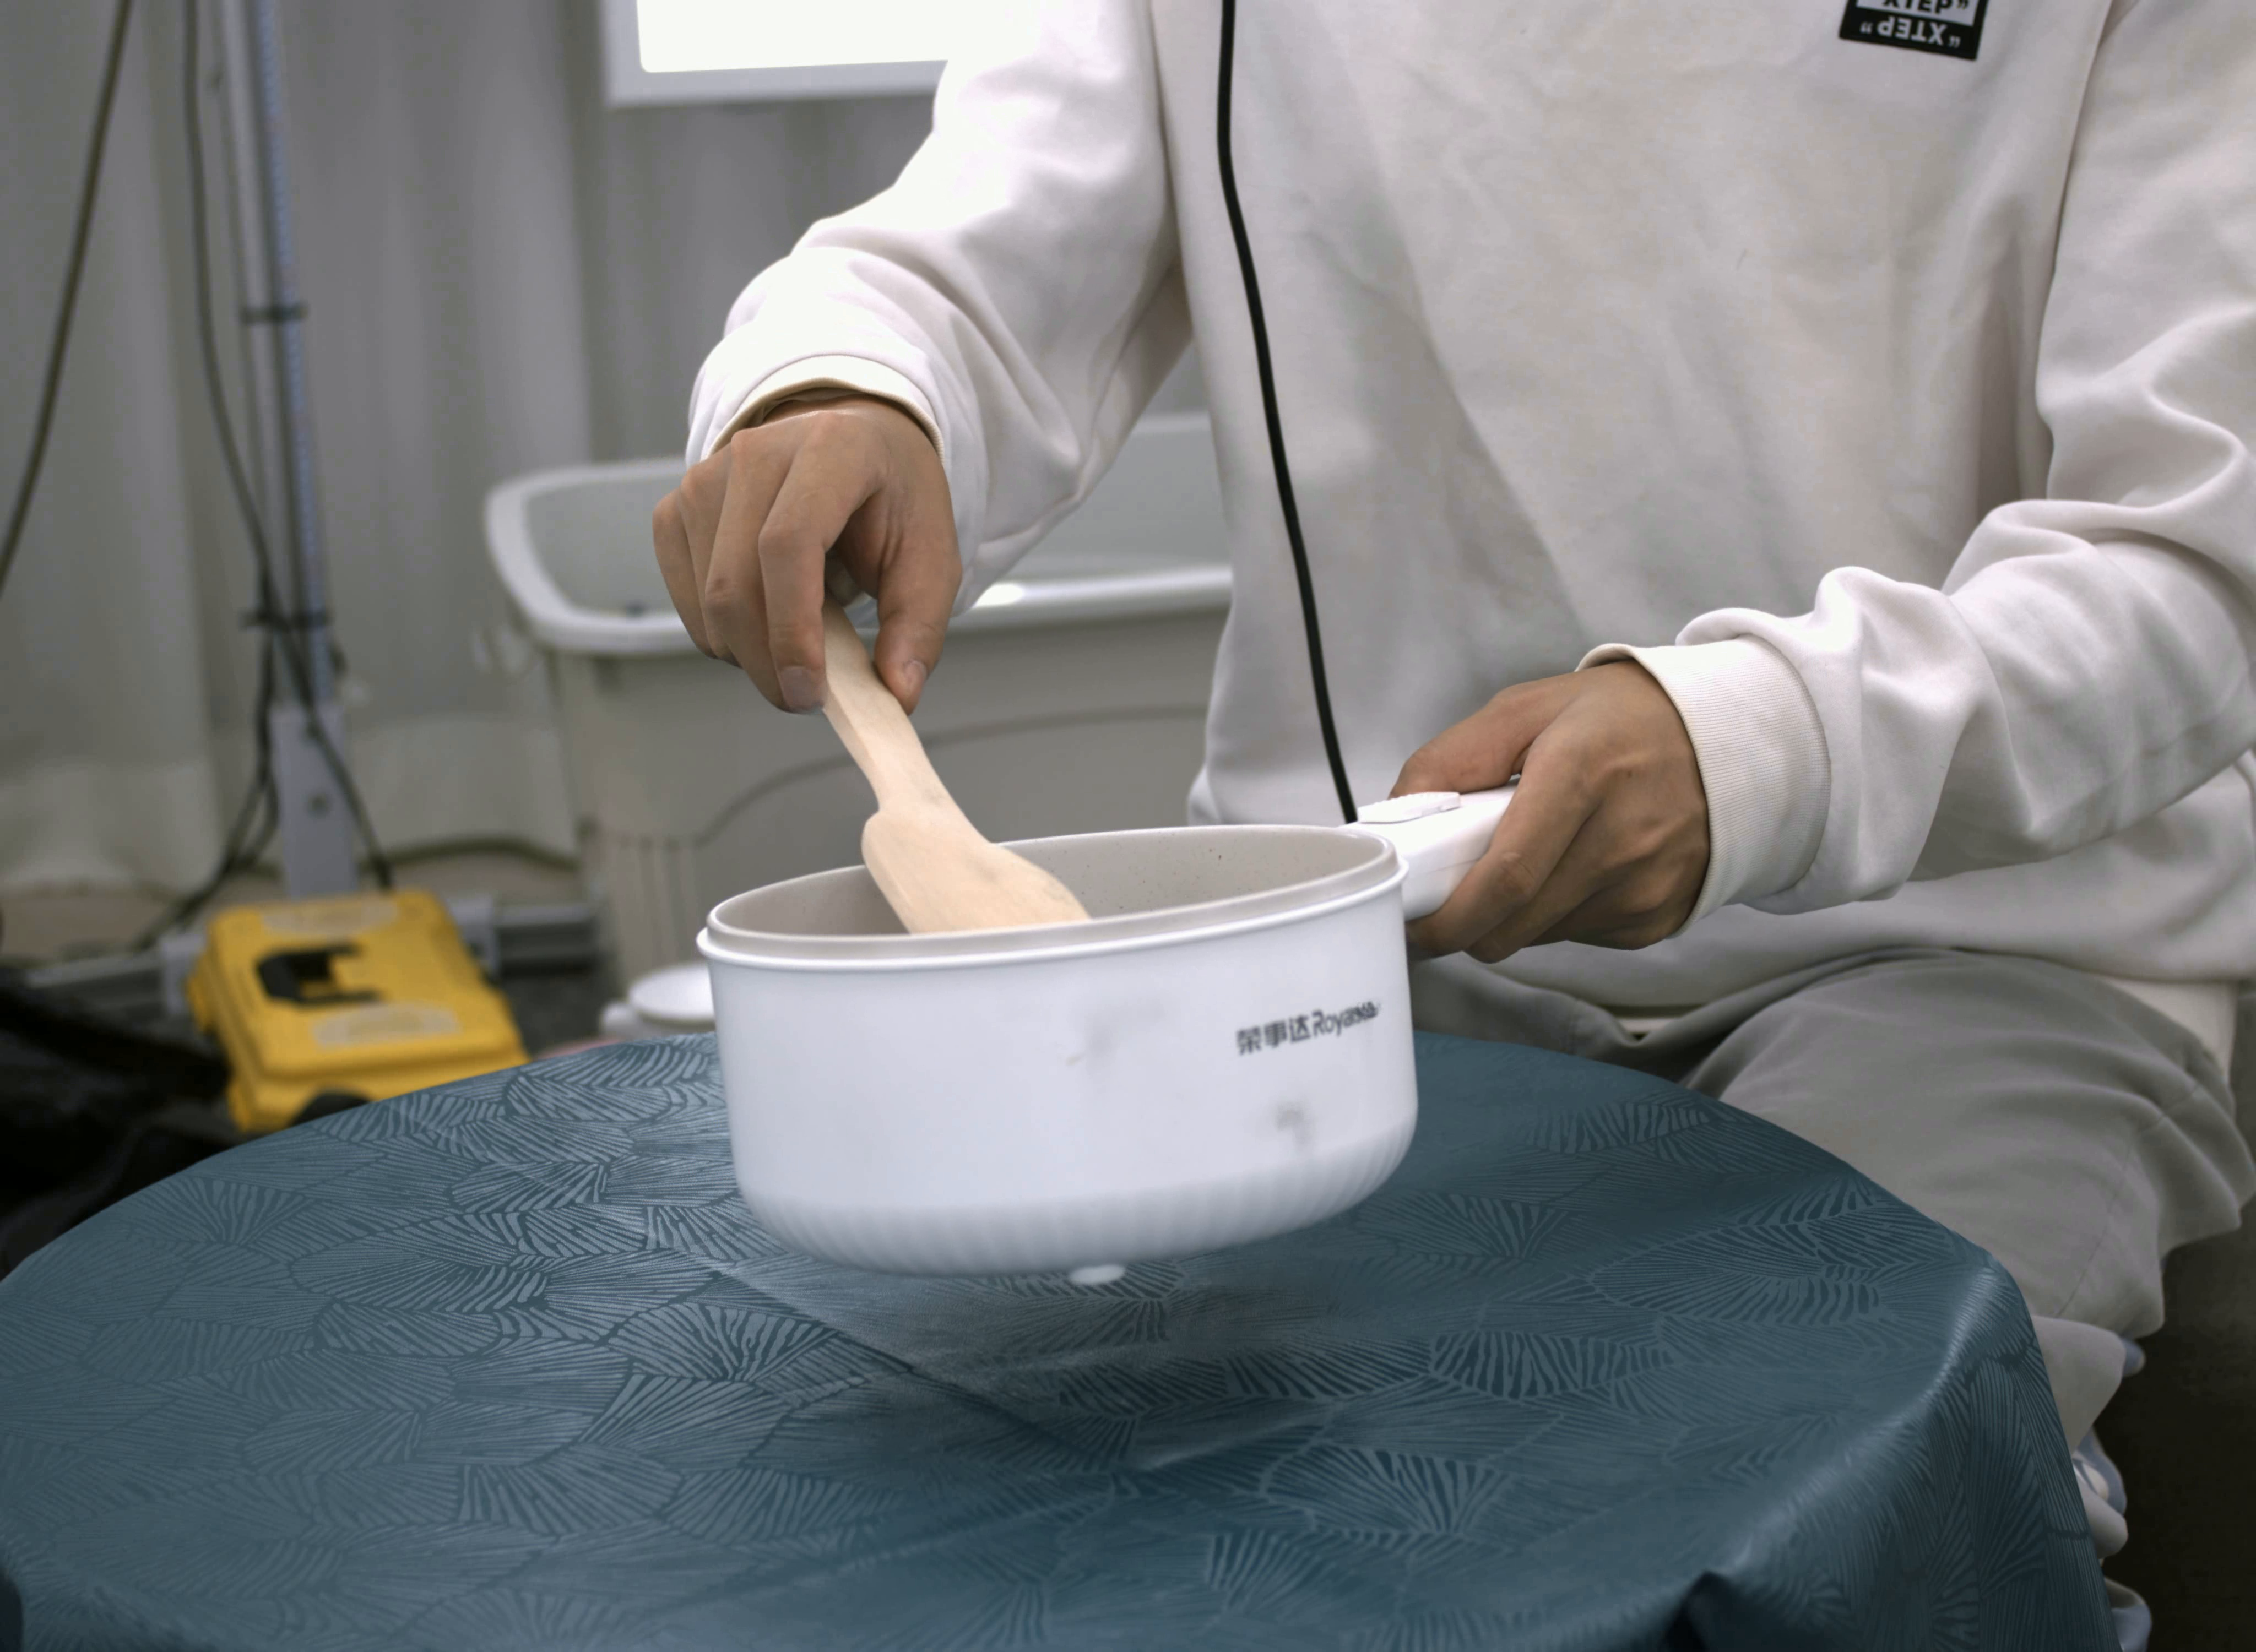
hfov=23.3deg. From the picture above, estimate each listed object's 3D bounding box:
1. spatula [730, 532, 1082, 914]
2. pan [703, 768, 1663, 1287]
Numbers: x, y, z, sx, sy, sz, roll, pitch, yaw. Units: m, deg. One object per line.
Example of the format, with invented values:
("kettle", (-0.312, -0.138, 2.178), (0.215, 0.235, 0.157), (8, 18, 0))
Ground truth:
("spatula", (-0.071, -0.022, 1.631), (0.071, 0.010, 0.297), (16, 21, -28))
("pan", (0.036, 0.054, 1.598), (0.201, 0.102, 0.353), (-1, 8, 43))
